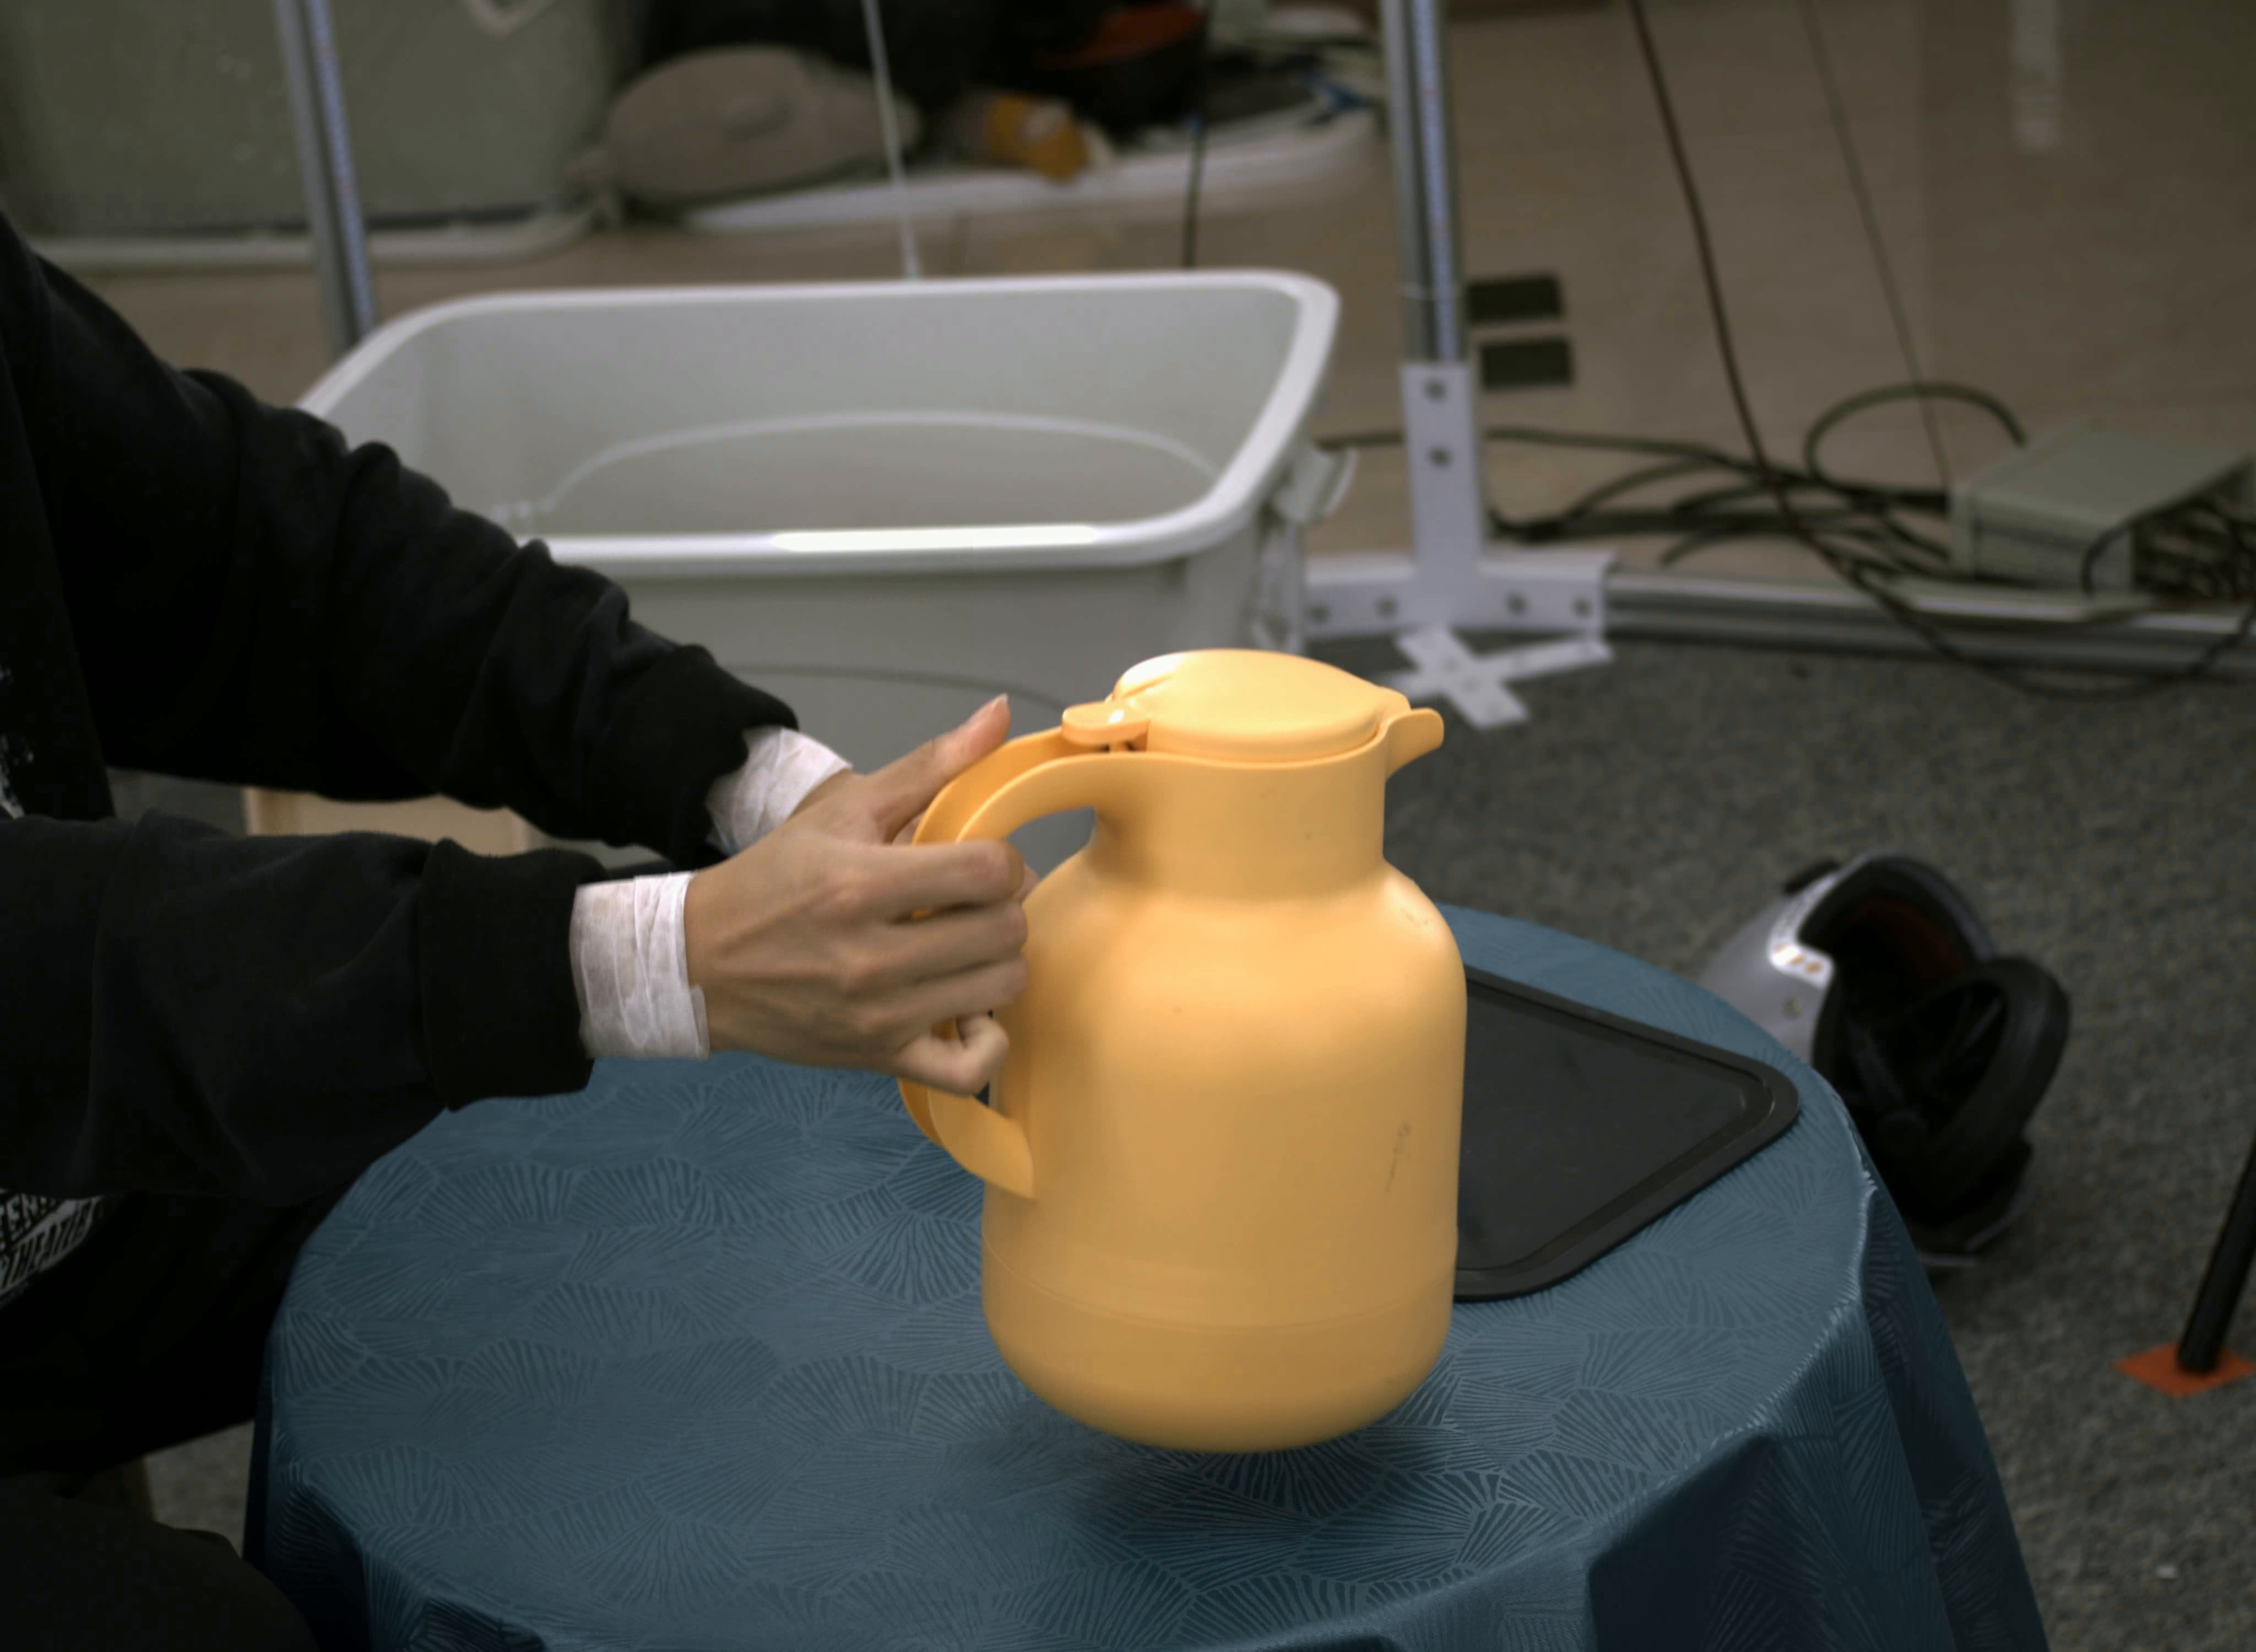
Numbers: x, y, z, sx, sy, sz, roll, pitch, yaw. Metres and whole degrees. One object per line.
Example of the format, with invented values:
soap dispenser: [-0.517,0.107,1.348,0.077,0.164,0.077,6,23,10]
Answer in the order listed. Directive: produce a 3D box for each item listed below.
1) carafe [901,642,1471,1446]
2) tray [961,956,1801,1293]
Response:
carafe: [0.017,0.071,1.913,0.202,0.264,0.162,-7,21,-26]
tray: [0.085,0.099,2.195,0.323,0.010,0.209,19,35,40]
